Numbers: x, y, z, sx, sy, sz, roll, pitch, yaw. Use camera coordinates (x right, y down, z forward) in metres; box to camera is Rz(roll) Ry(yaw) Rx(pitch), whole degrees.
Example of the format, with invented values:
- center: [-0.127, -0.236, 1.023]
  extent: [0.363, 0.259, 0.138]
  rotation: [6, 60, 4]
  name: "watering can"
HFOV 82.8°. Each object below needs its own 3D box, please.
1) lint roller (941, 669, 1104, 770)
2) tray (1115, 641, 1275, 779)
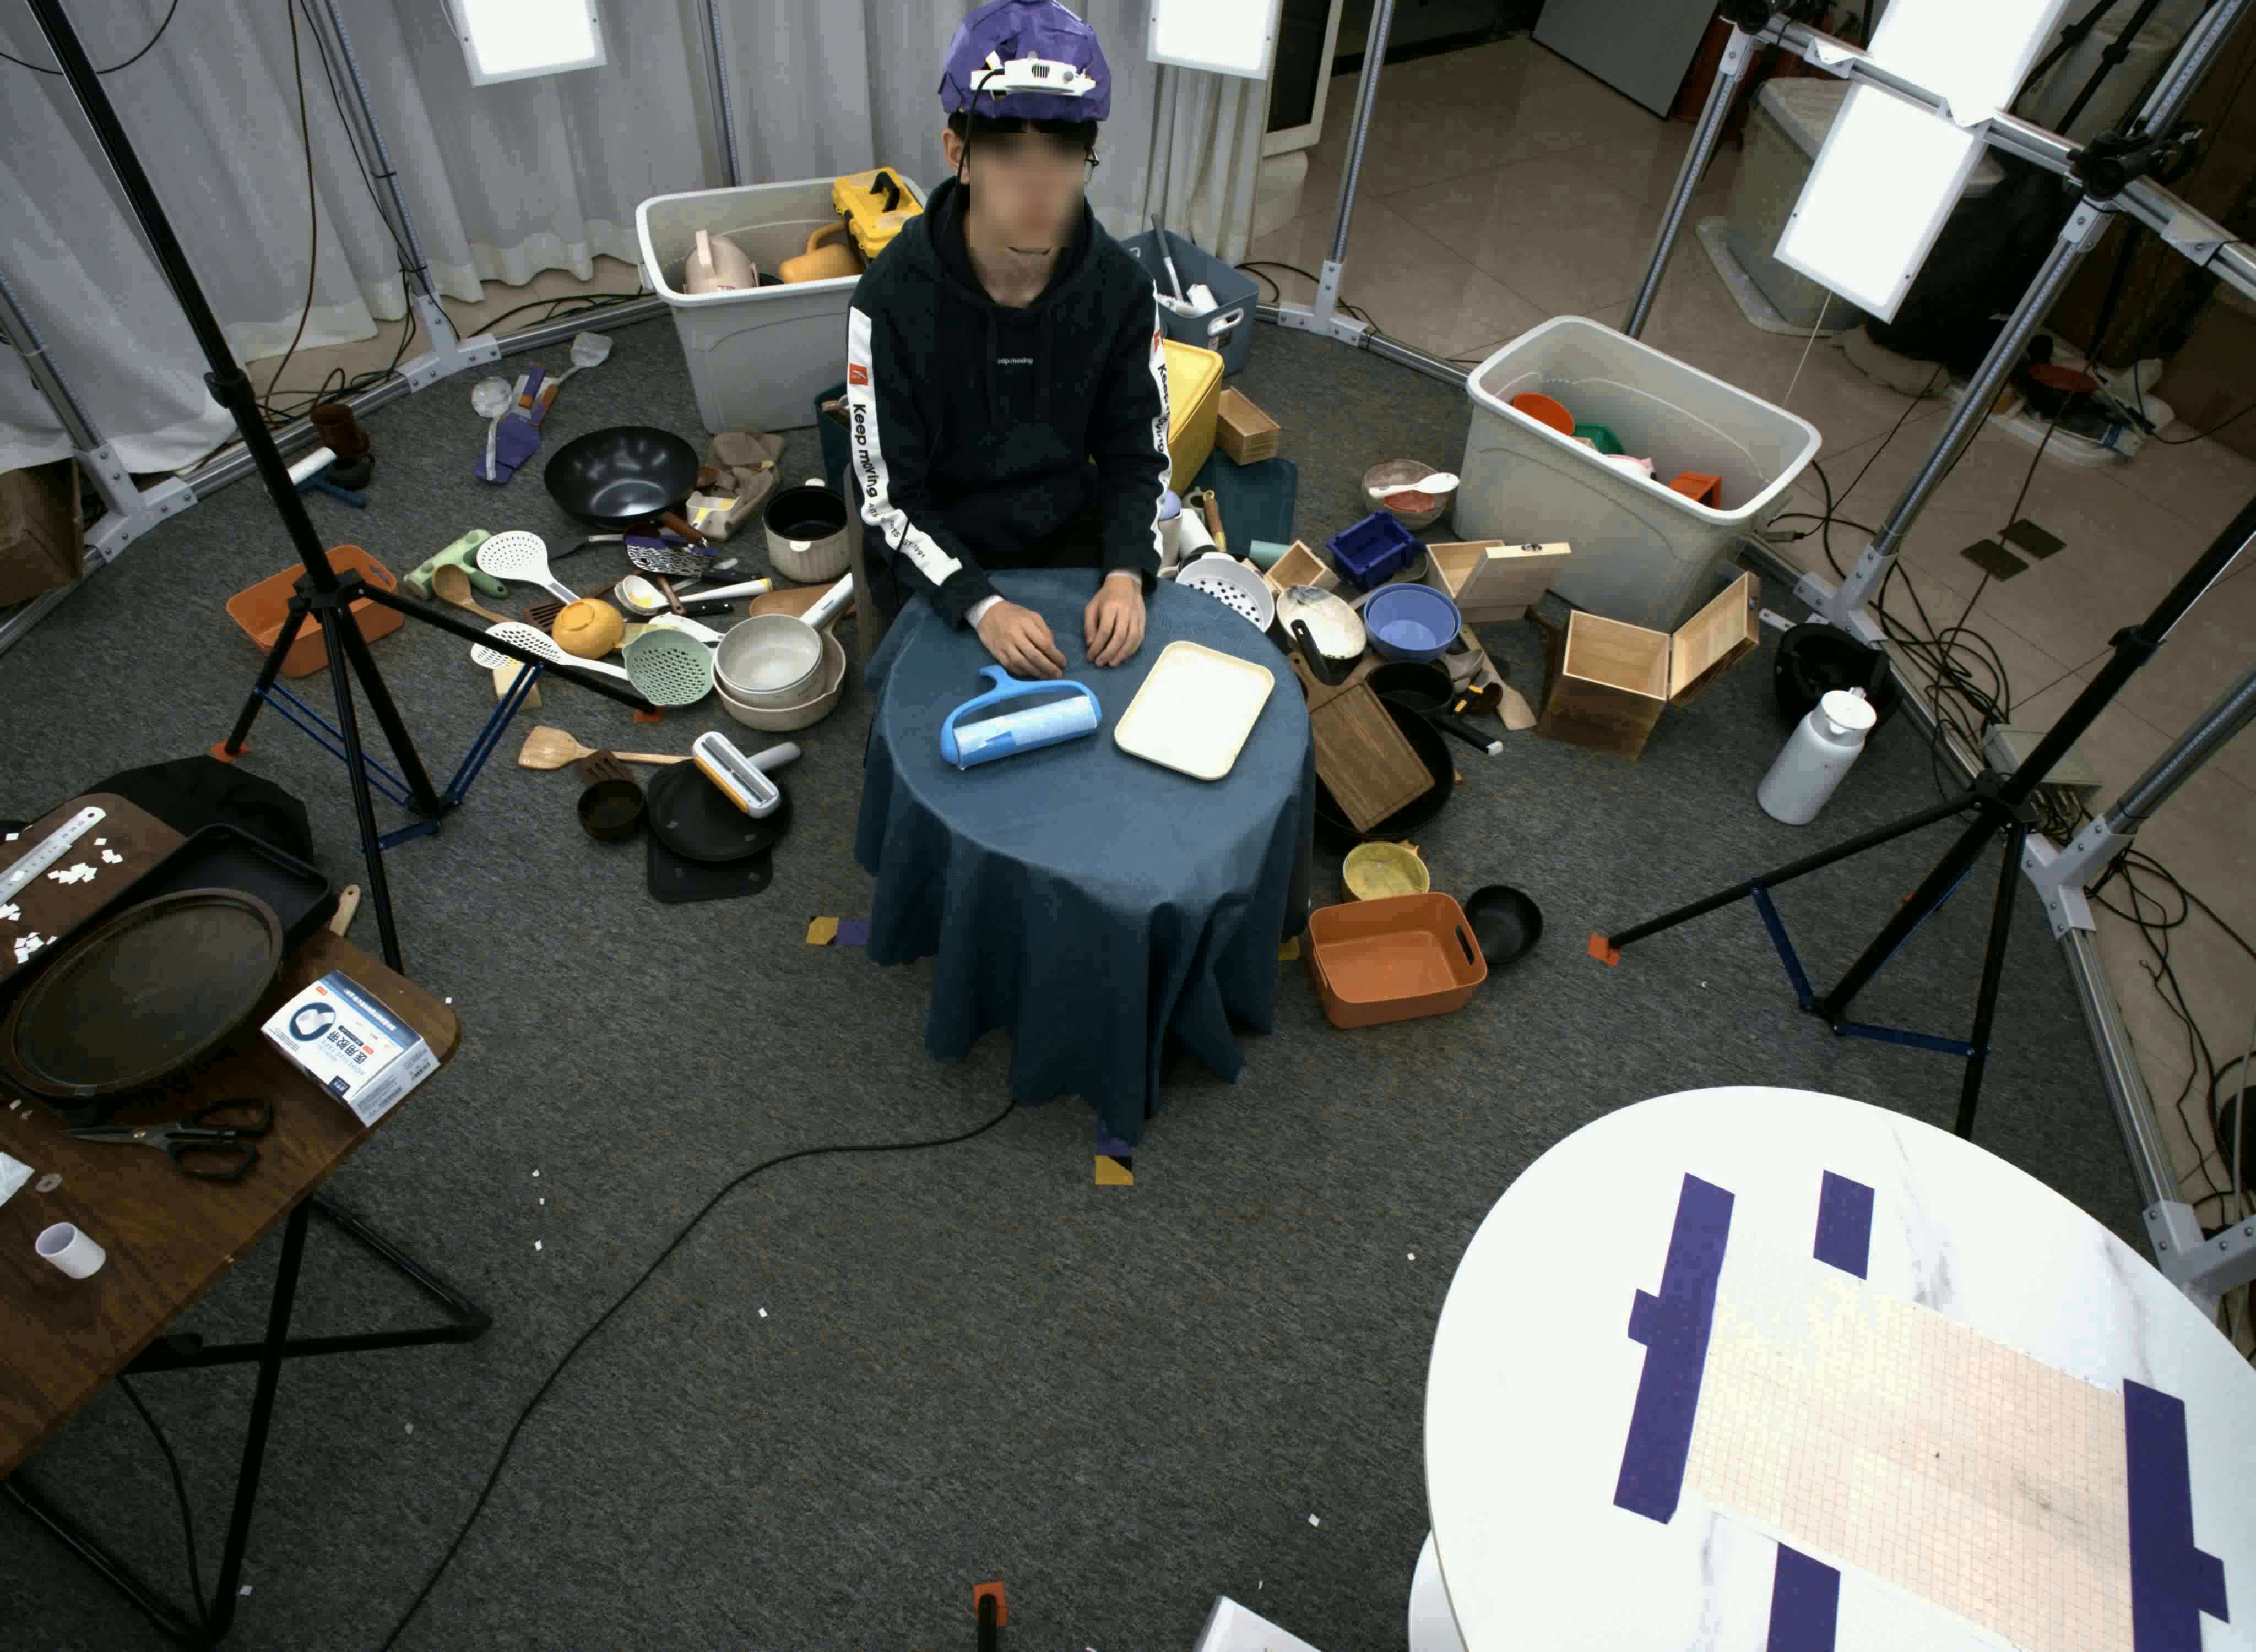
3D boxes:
- center: [-0.166, -0.171, 1.769]
  extent: [0.229, 0.066, 0.184]
  rotation: [-19, 54, -18]
  name: "lint roller"
- center: [0.096, -0.165, 1.805]
  extent: [0.172, 0.017, 0.244]
  rotation: [19, 51, 14]
  name: "tray"
